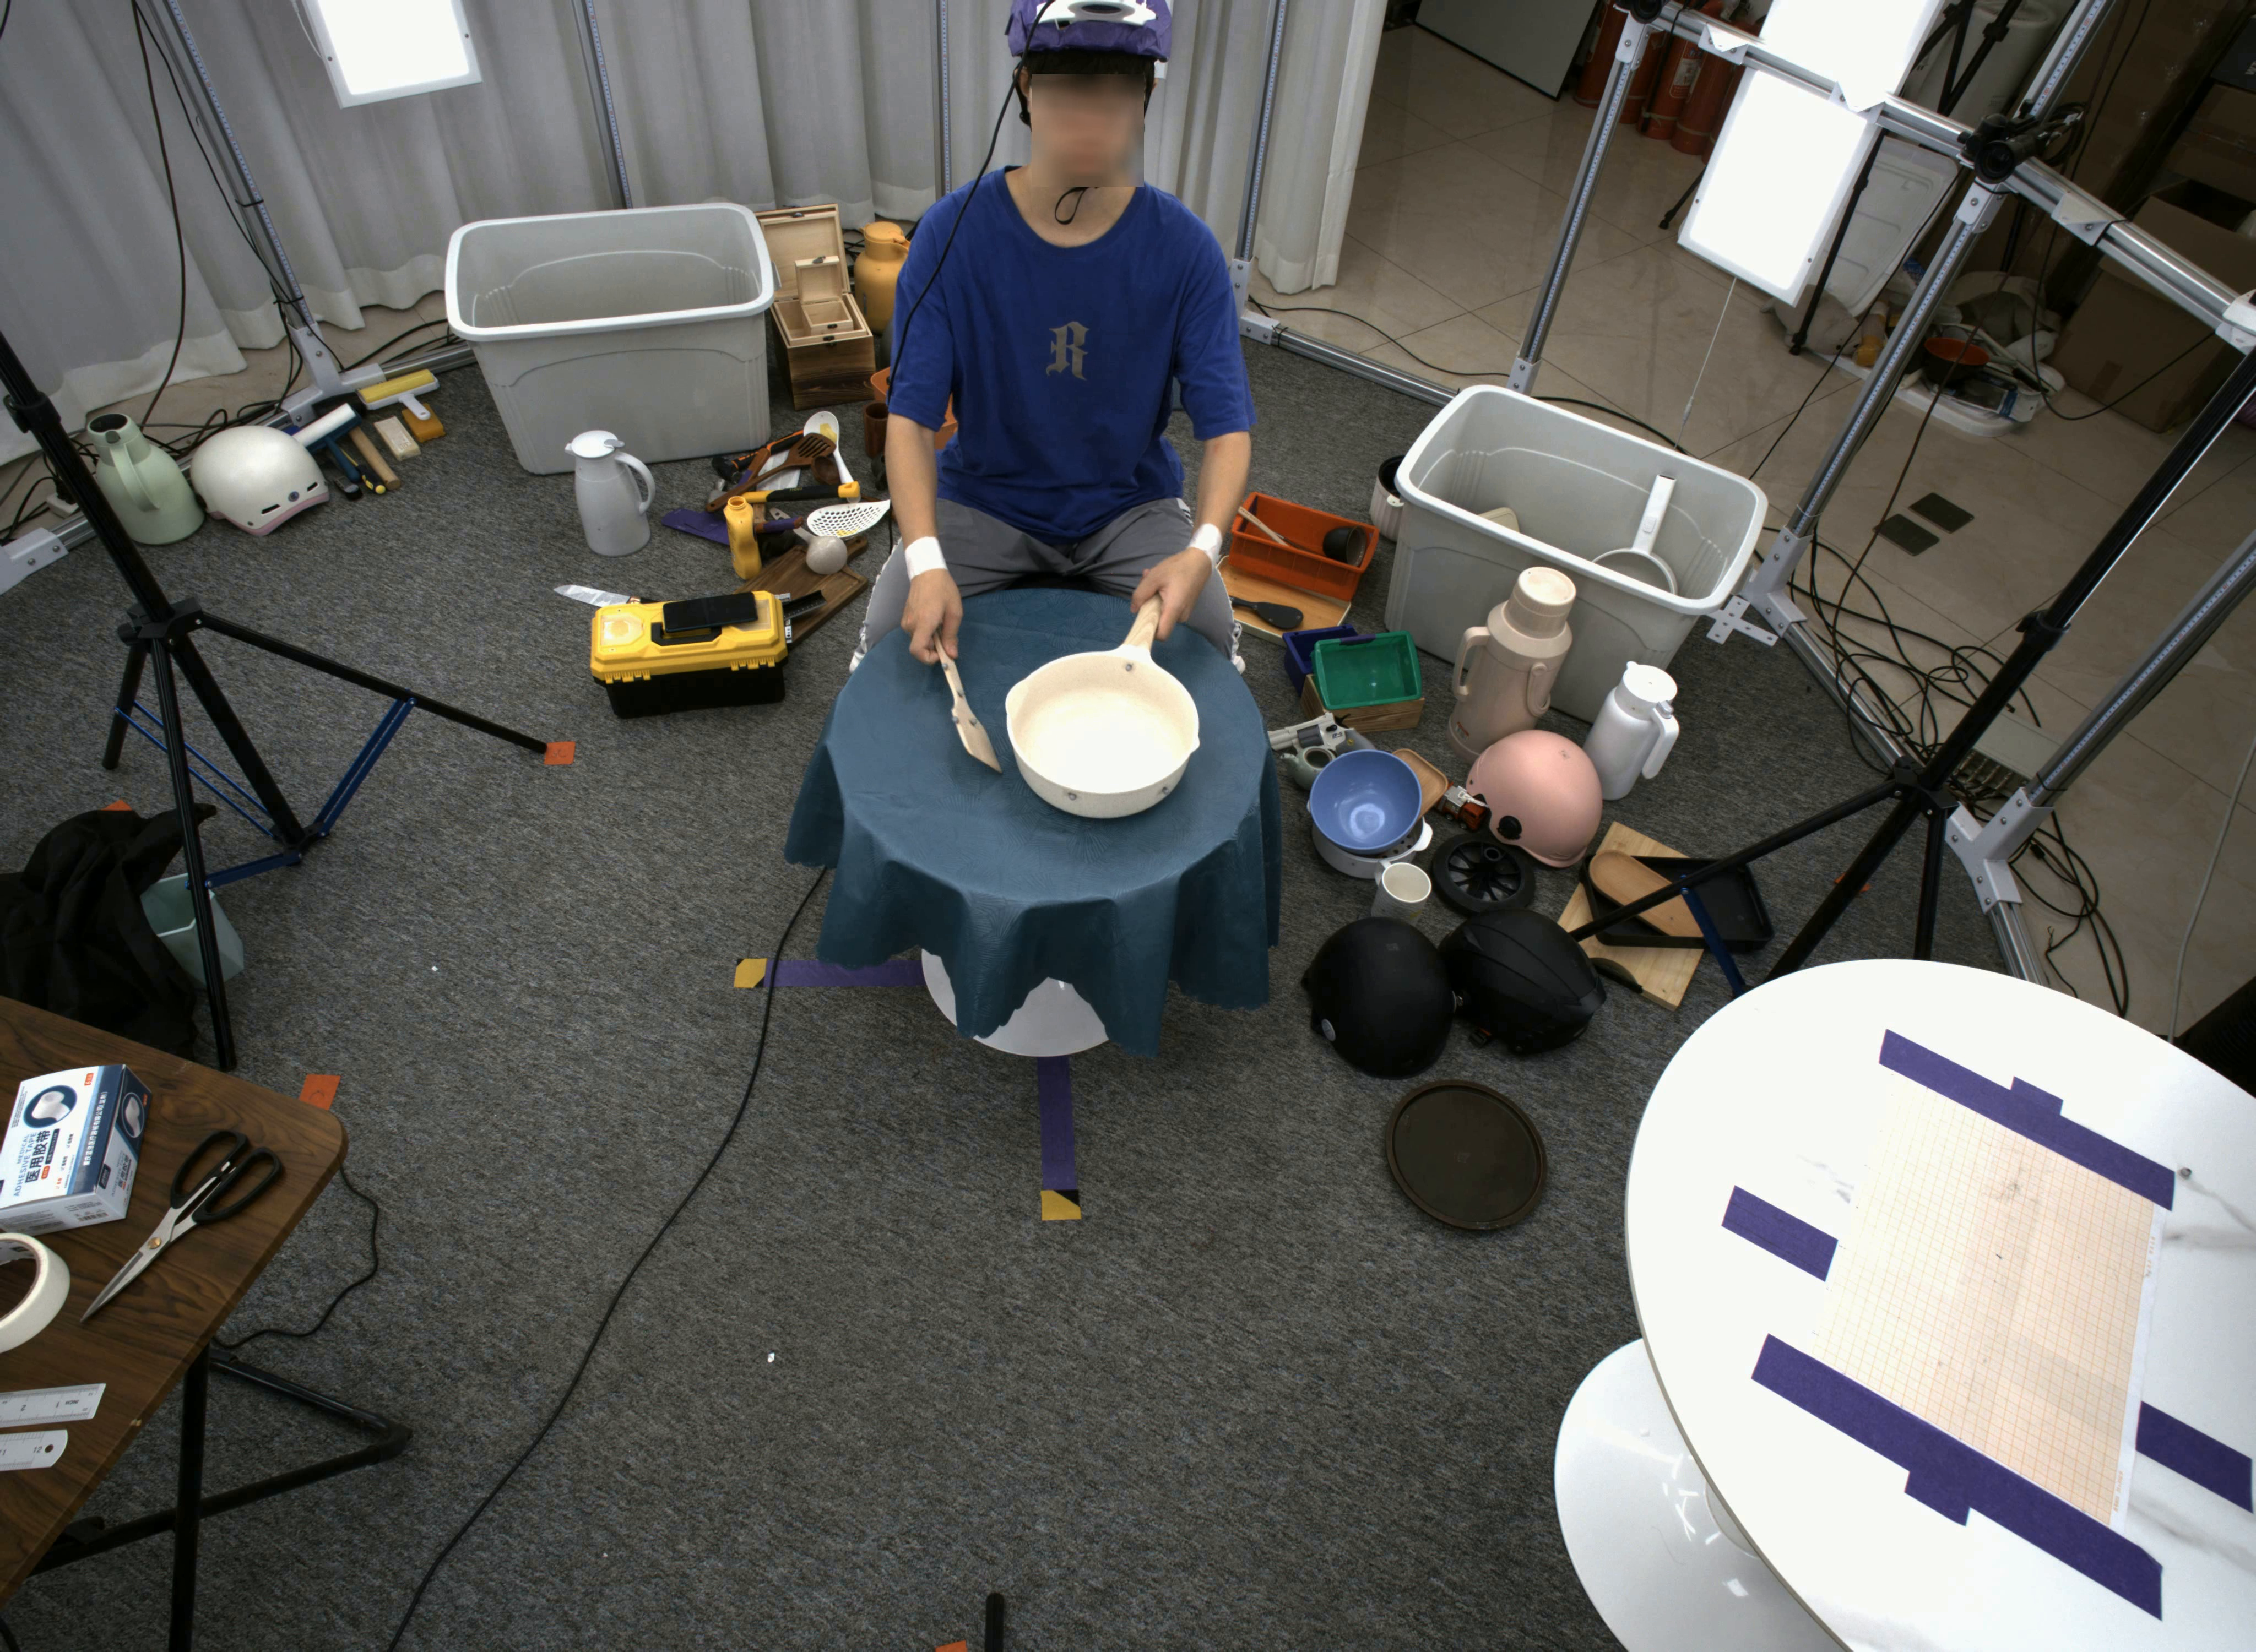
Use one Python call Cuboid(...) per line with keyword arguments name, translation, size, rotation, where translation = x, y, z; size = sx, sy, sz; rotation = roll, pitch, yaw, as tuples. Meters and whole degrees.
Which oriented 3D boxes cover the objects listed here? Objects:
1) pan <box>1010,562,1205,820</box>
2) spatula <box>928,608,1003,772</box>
Cuboid(name="pan", translation=(-0.001, -0.187, 1.764), size=(0.264, 0.099, 0.444), rotation=(13, 51, 10))
Cuboid(name="spatula", translation=(-0.234, -0.196, 1.779), size=(0.010, 0.071, 0.300), rotation=(-35, 55, 19))
